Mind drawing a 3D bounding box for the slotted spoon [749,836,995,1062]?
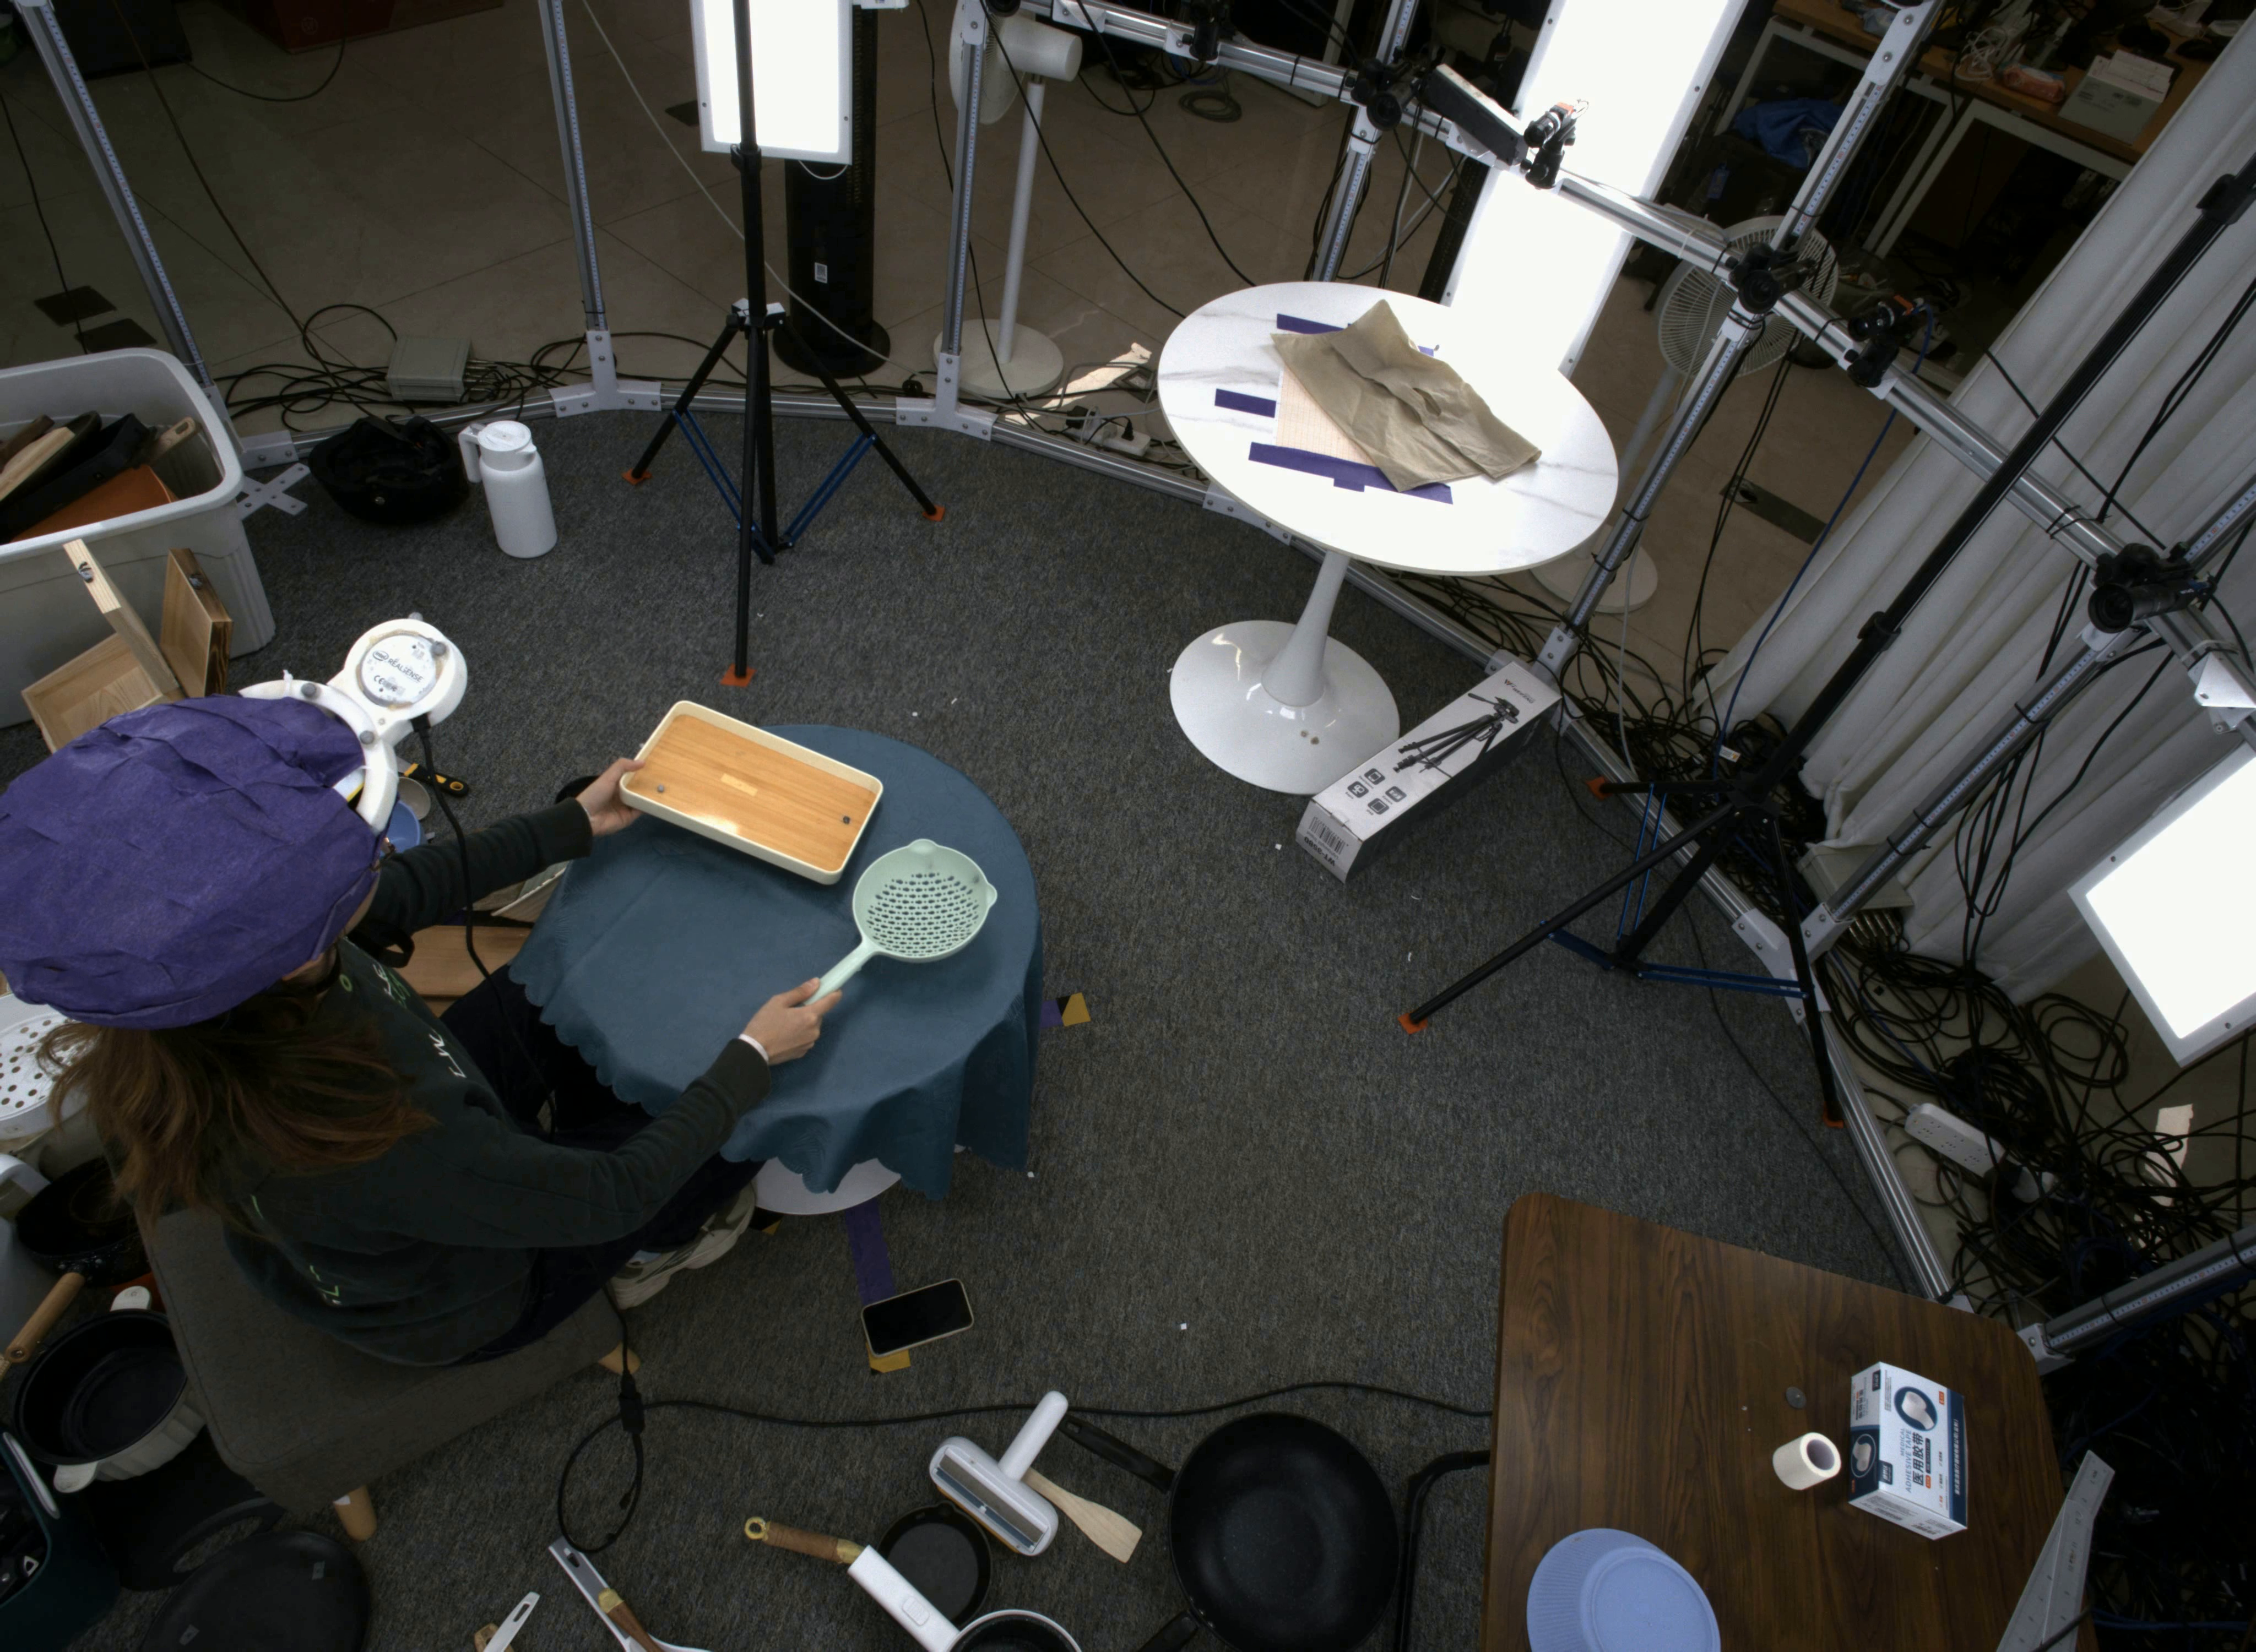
[{"bbox_3d":[-0.319,0.152,1.576,0.165,0.077,0.359,35,50,20],"label":"slotted spoon"}]

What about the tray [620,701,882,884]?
[{"bbox_3d":[-0.489,-0.047,1.688,0.301,0.028,0.189,23,43,-8],"label":"tray"}]
